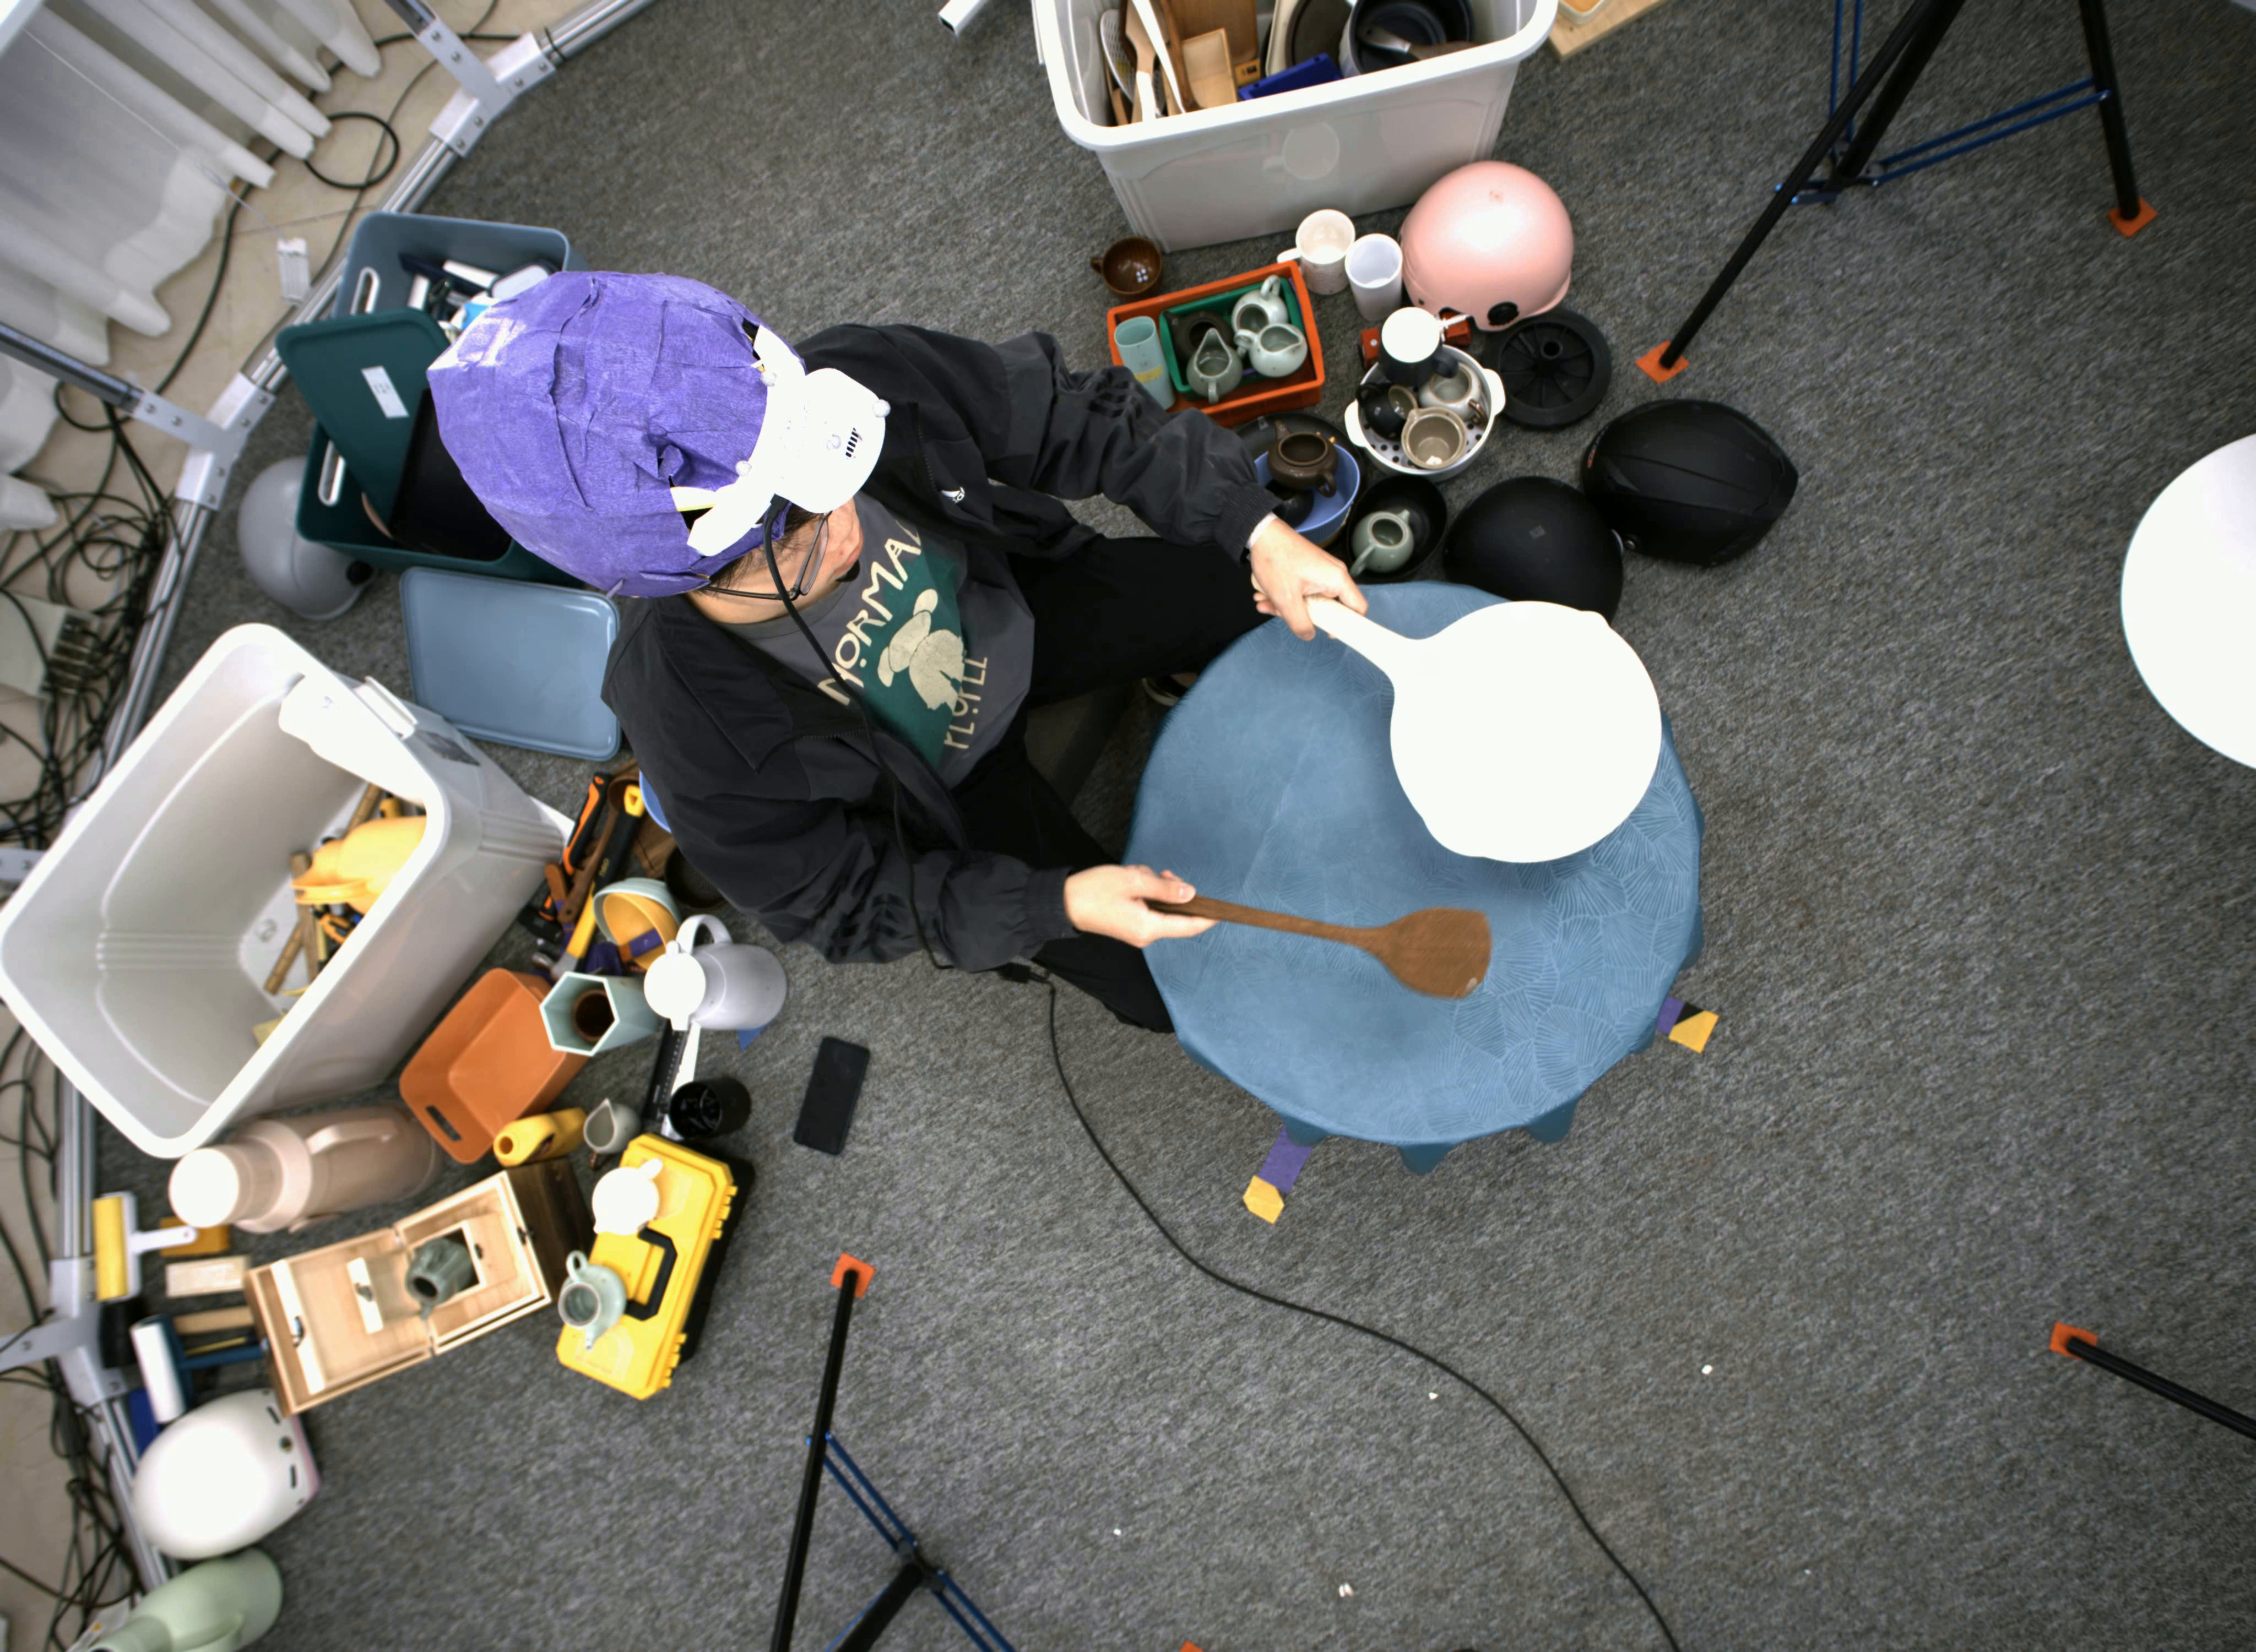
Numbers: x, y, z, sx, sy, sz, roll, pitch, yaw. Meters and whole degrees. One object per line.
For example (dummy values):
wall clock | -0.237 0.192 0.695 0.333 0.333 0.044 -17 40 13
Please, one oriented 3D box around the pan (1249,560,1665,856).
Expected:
pan | 0.314 -0.145 1.358 0.433 0.101 0.266 34 101 15

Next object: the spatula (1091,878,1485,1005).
spatula | 0.148 0.095 1.332 0.387 0.016 0.094 10 65 14
